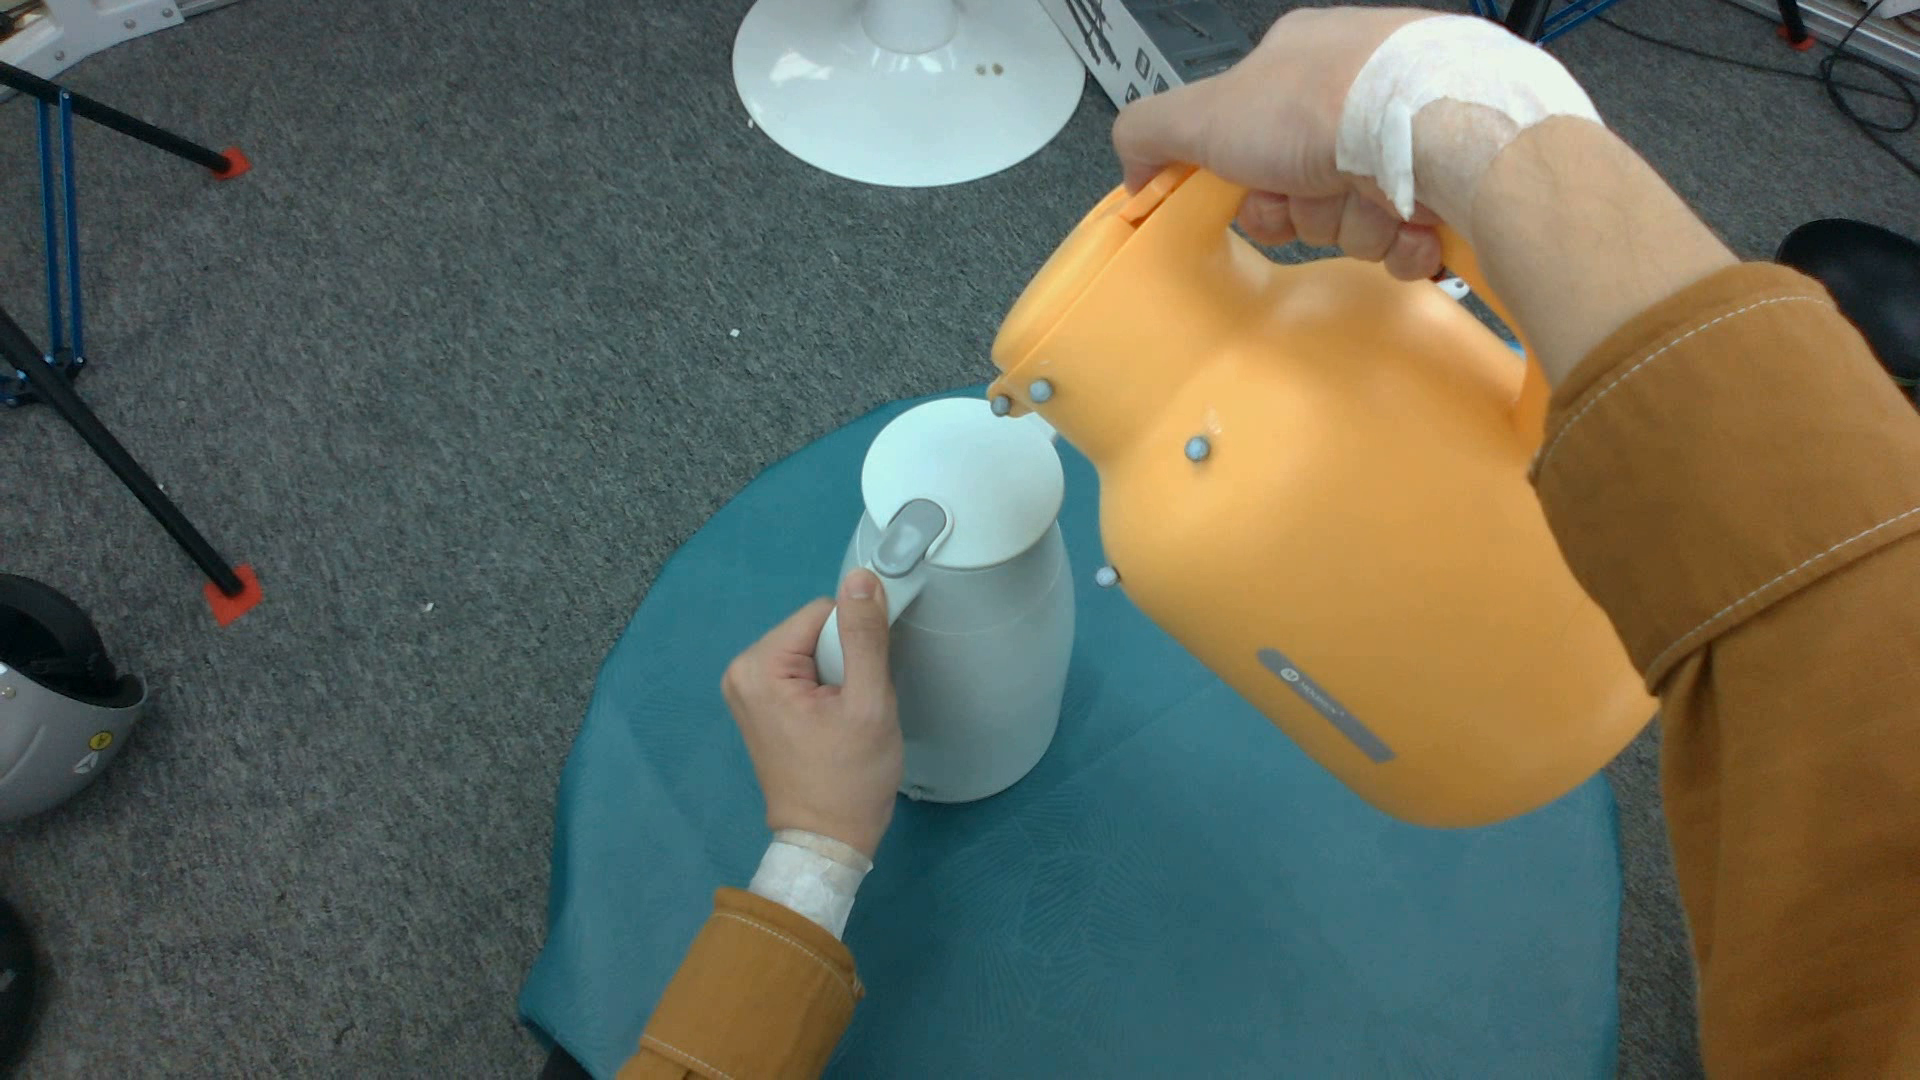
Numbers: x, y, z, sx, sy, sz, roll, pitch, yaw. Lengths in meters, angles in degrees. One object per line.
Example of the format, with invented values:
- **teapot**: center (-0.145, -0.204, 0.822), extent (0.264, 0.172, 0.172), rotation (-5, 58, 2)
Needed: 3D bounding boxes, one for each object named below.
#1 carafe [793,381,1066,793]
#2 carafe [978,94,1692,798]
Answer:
- **carafe**: center (-0.019, 0.038, 0.706), extent (0.132, 0.247, 0.168), rotation (35, 64, 17)
- **carafe**: center (0.138, -0.037, 0.506), extent (0.260, 0.201, 0.164), rotation (36, 55, -7)
